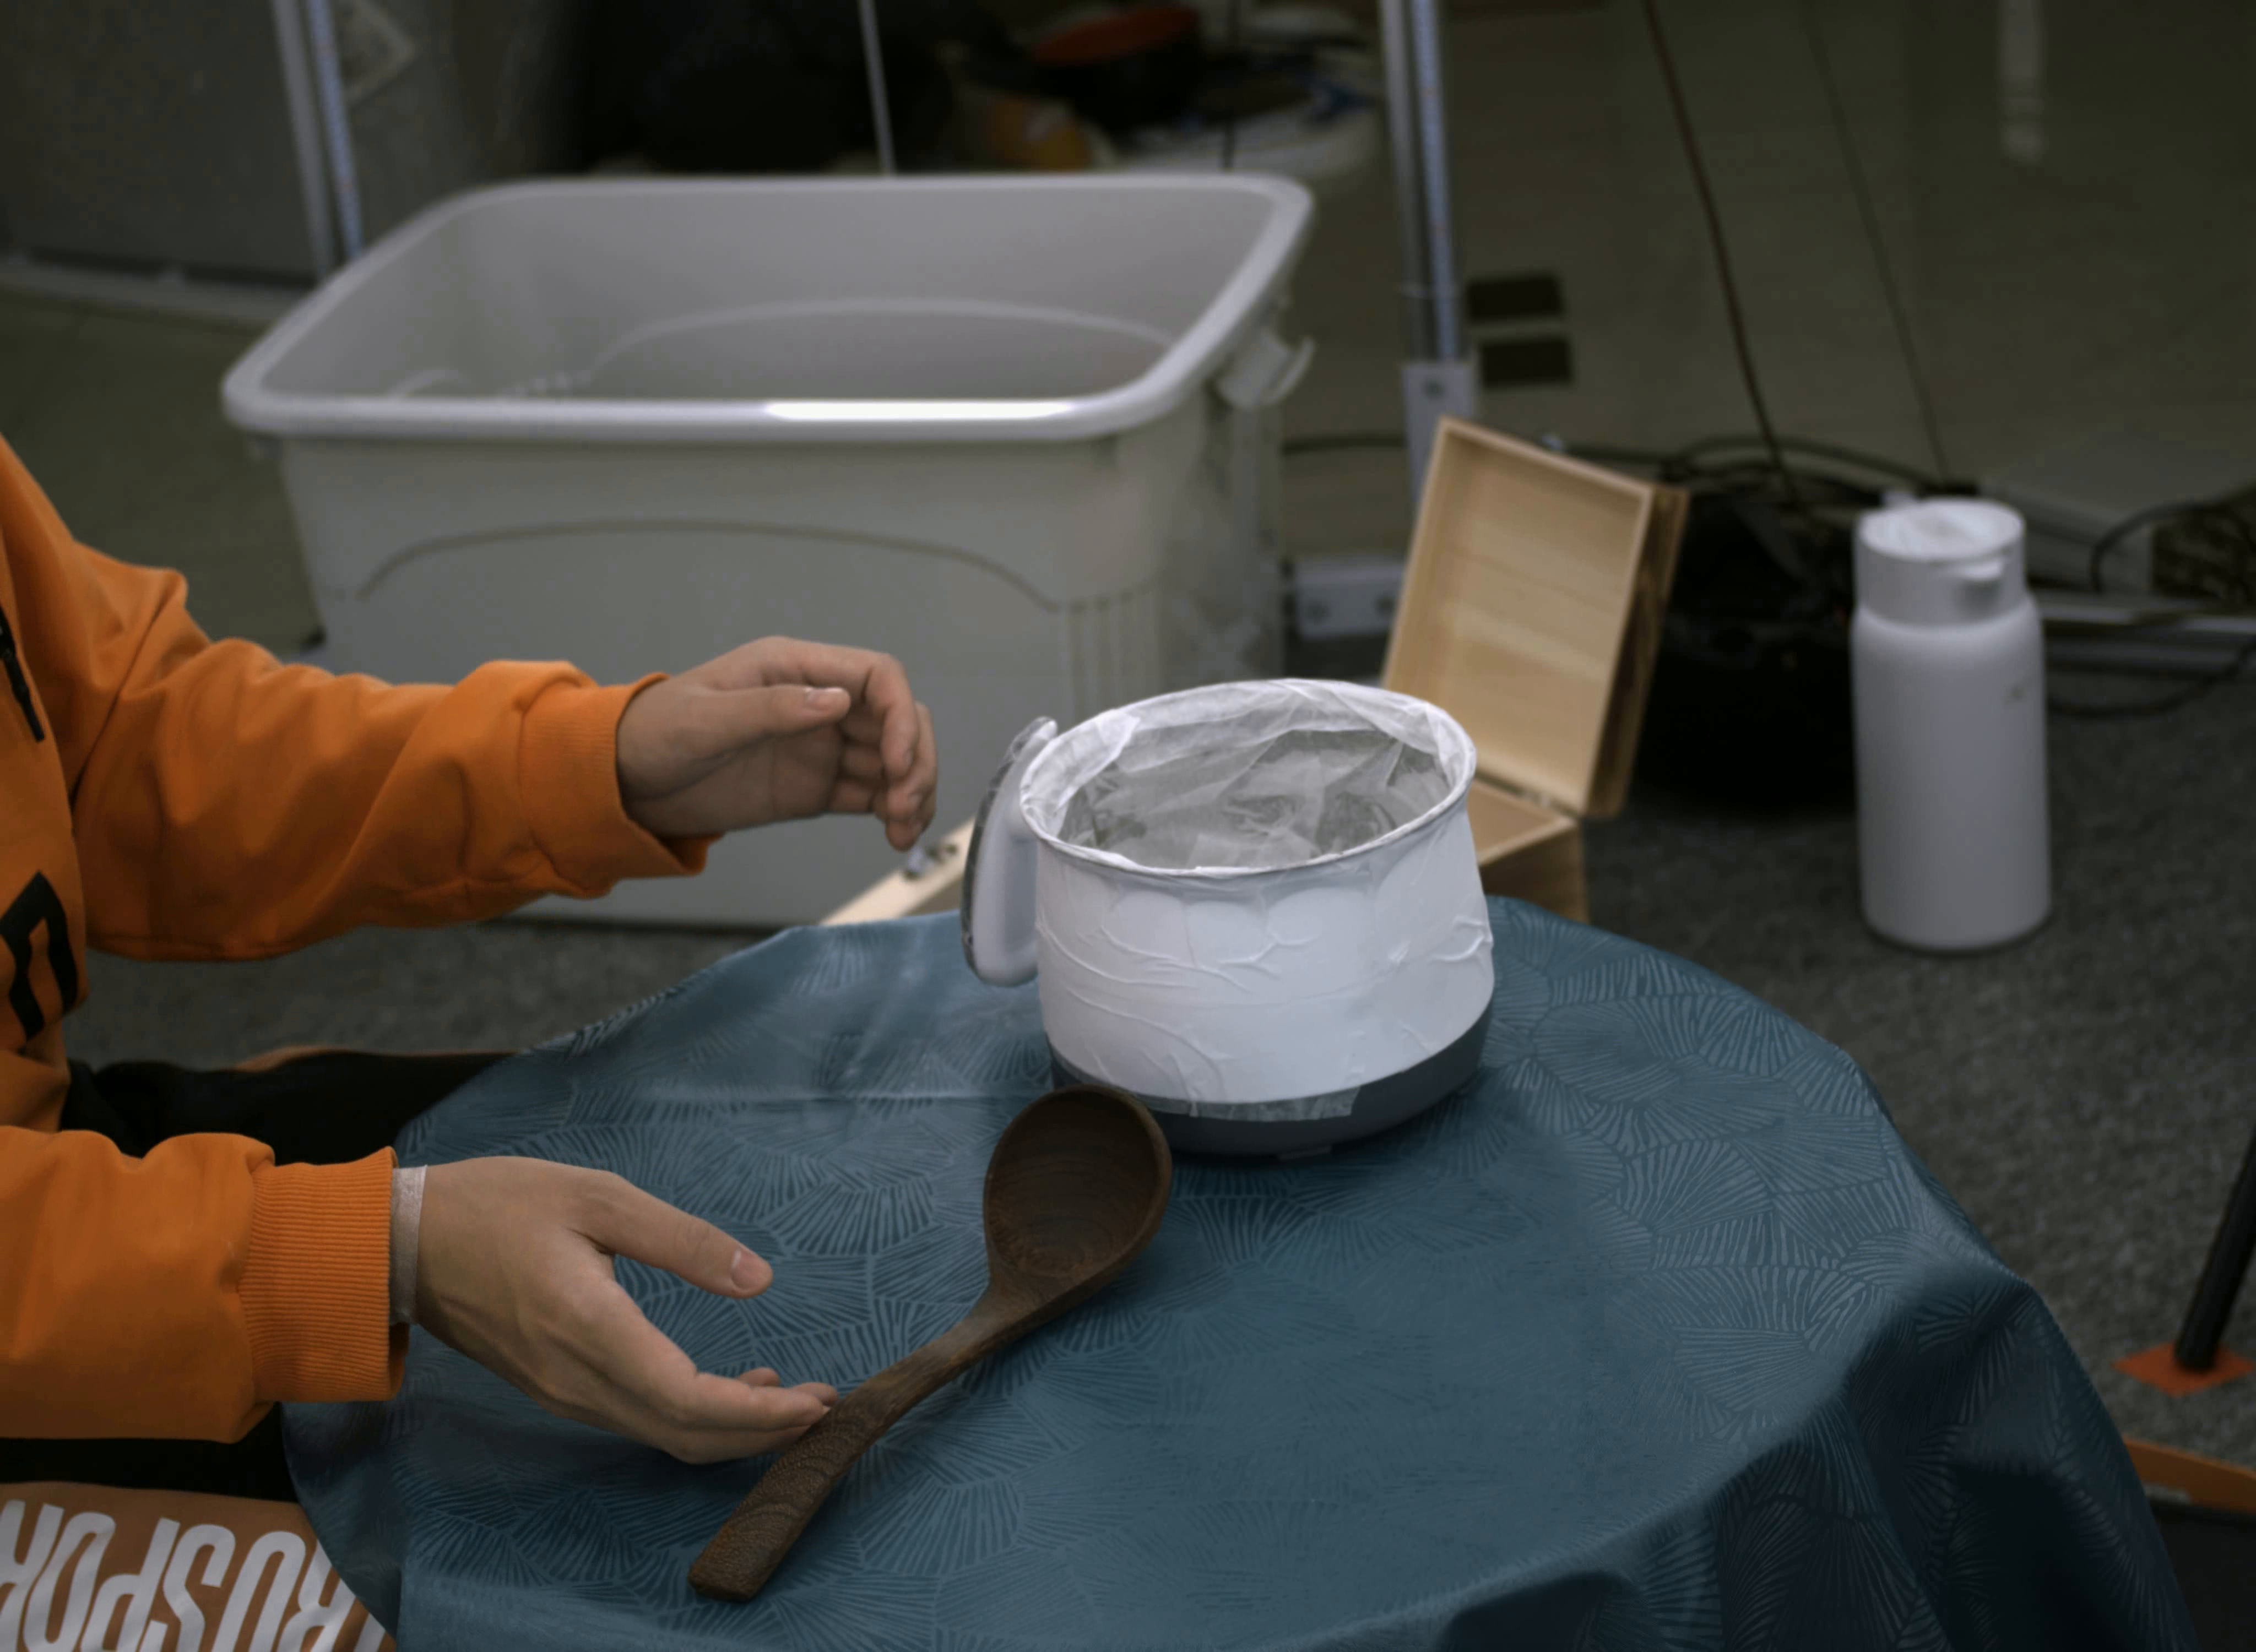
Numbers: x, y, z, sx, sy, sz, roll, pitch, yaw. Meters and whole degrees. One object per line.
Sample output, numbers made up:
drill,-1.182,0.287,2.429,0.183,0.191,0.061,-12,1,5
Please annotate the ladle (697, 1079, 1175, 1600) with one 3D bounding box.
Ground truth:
ladle,-0.072,0.175,2.003,0.076,0.072,0.271,7,27,32

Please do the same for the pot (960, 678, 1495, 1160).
pot,0.029,0.032,2.203,0.232,0.139,0.177,12,31,34
